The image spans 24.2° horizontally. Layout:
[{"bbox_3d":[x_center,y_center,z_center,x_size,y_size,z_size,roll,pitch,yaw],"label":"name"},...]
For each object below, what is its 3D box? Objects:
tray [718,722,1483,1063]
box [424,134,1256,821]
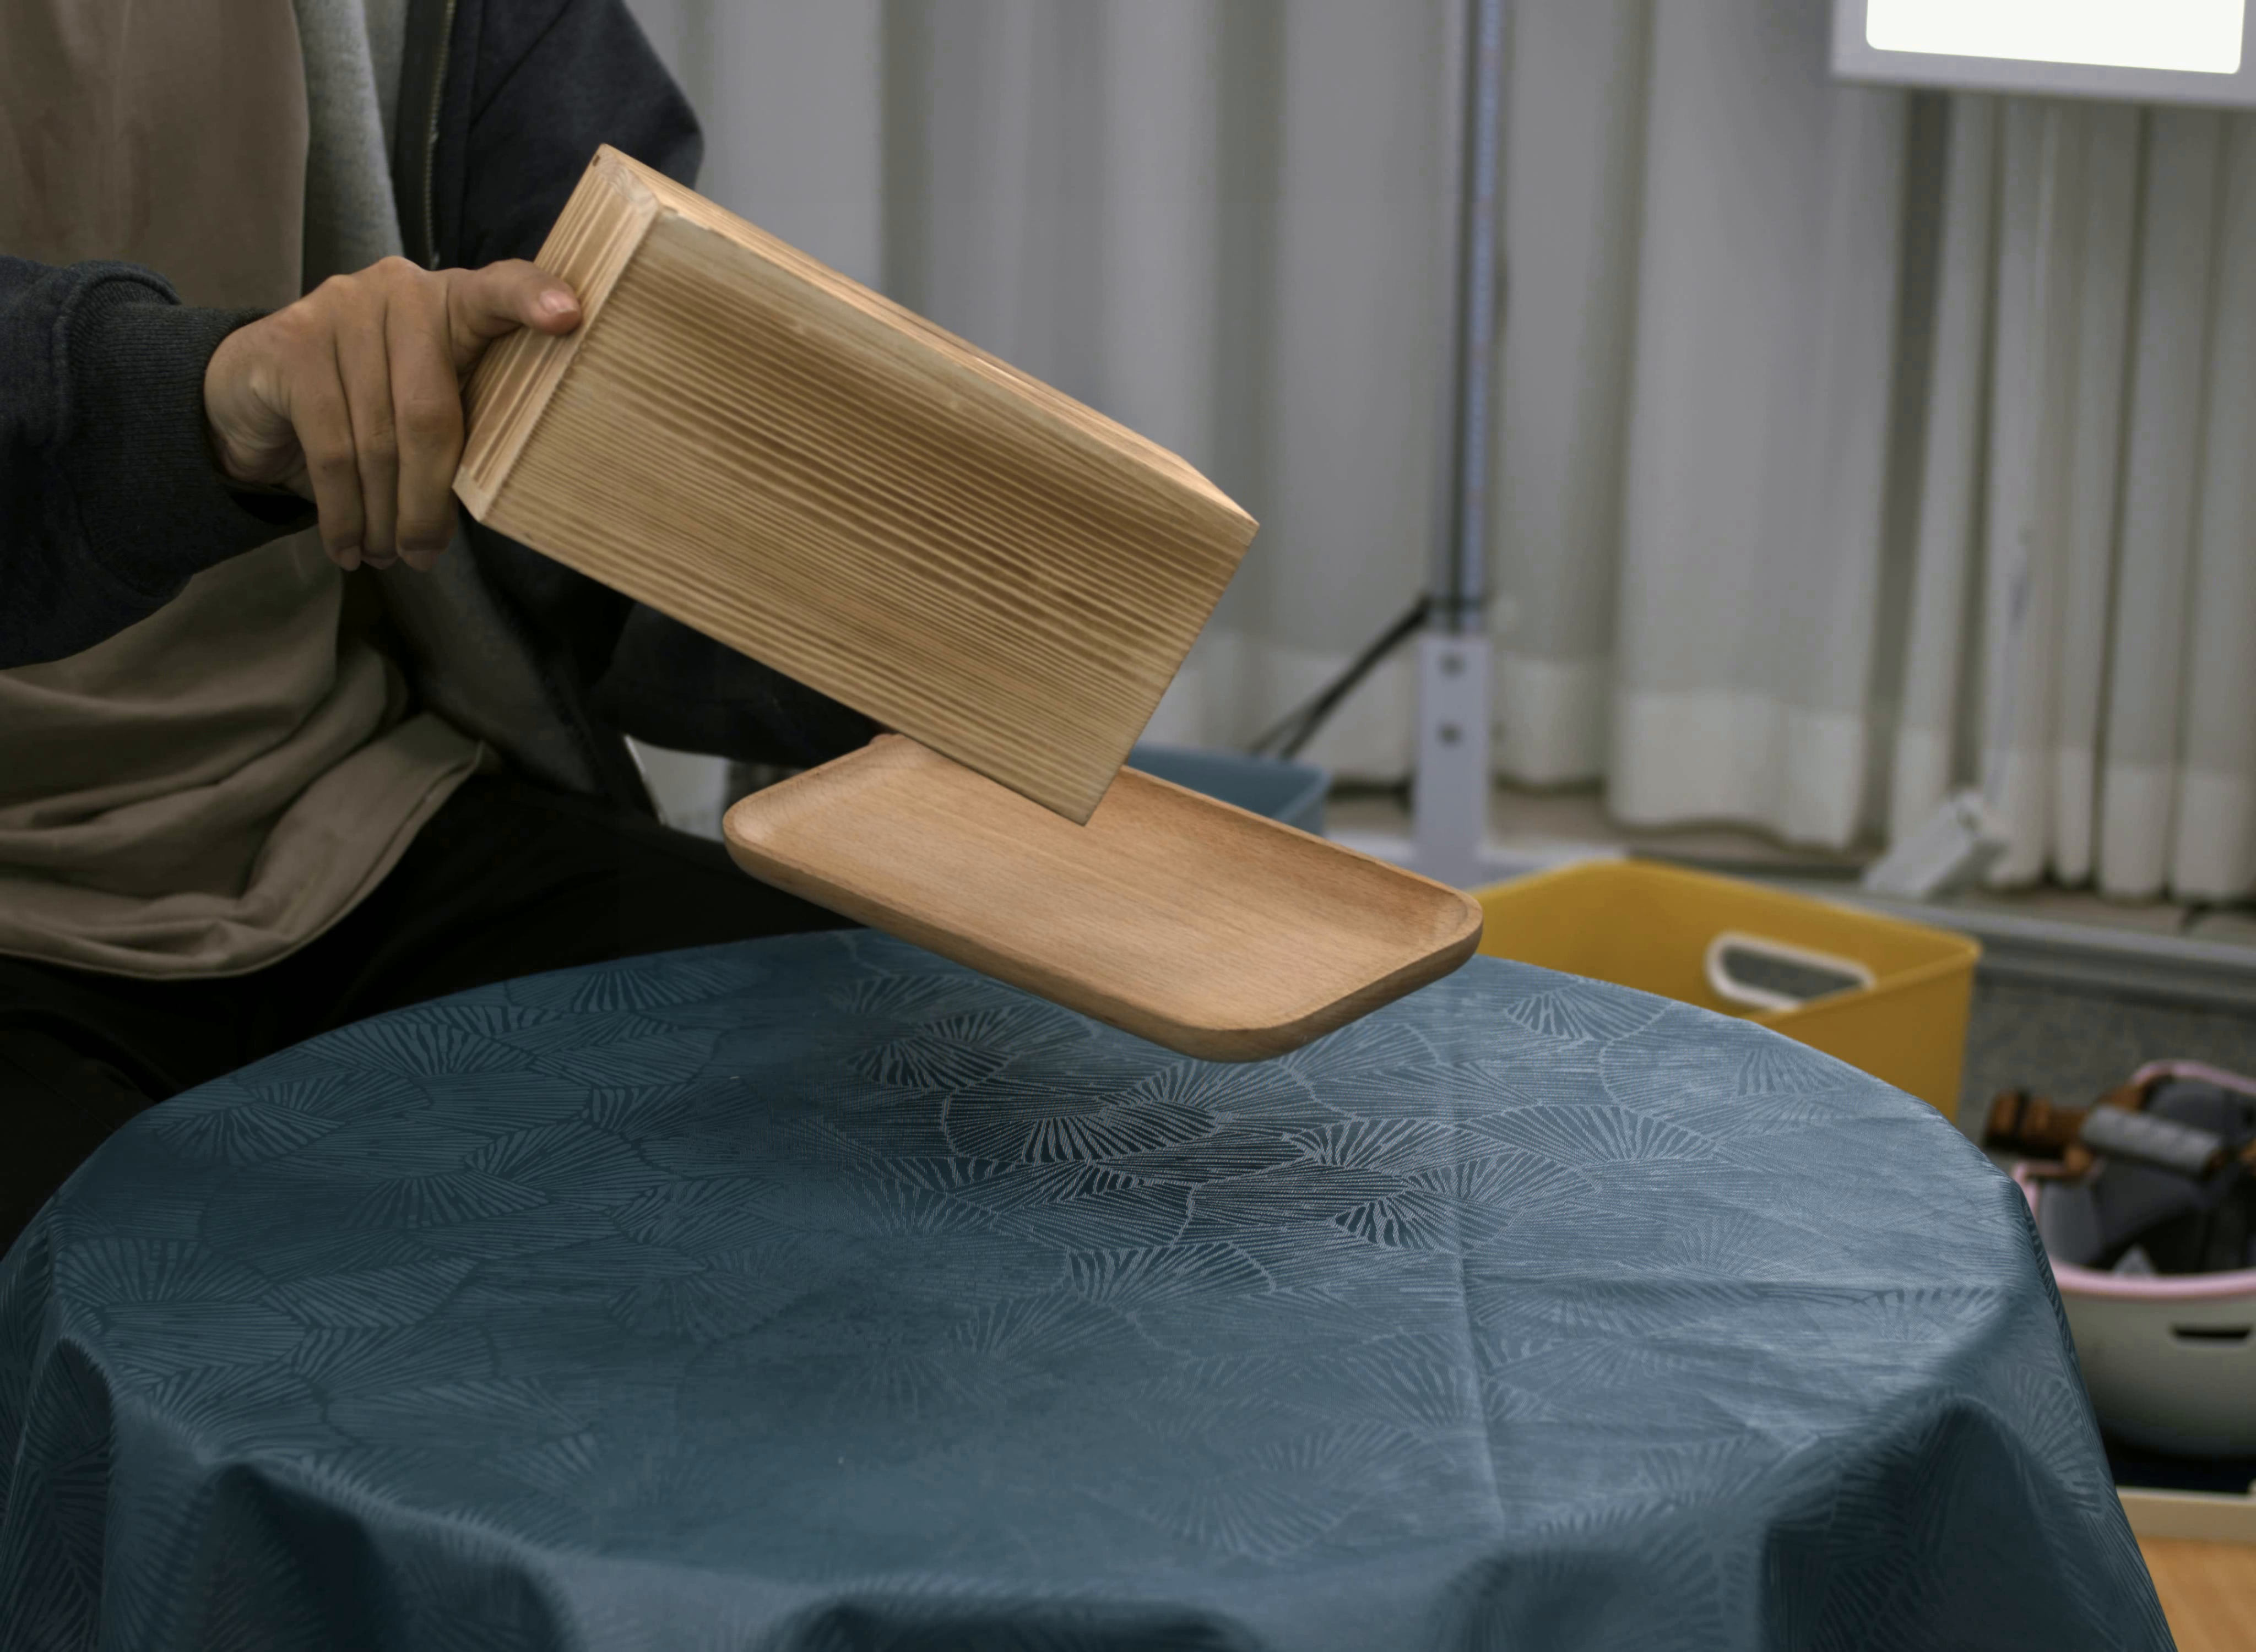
[{"bbox_3d":[-0.011,0.018,1.667,0.247,0.023,0.131,21,30,41],"label":"tray"},{"bbox_3d":[-0.084,-0.101,1.544,0.213,0.108,0.079,28,9,-25],"label":"box"}]
